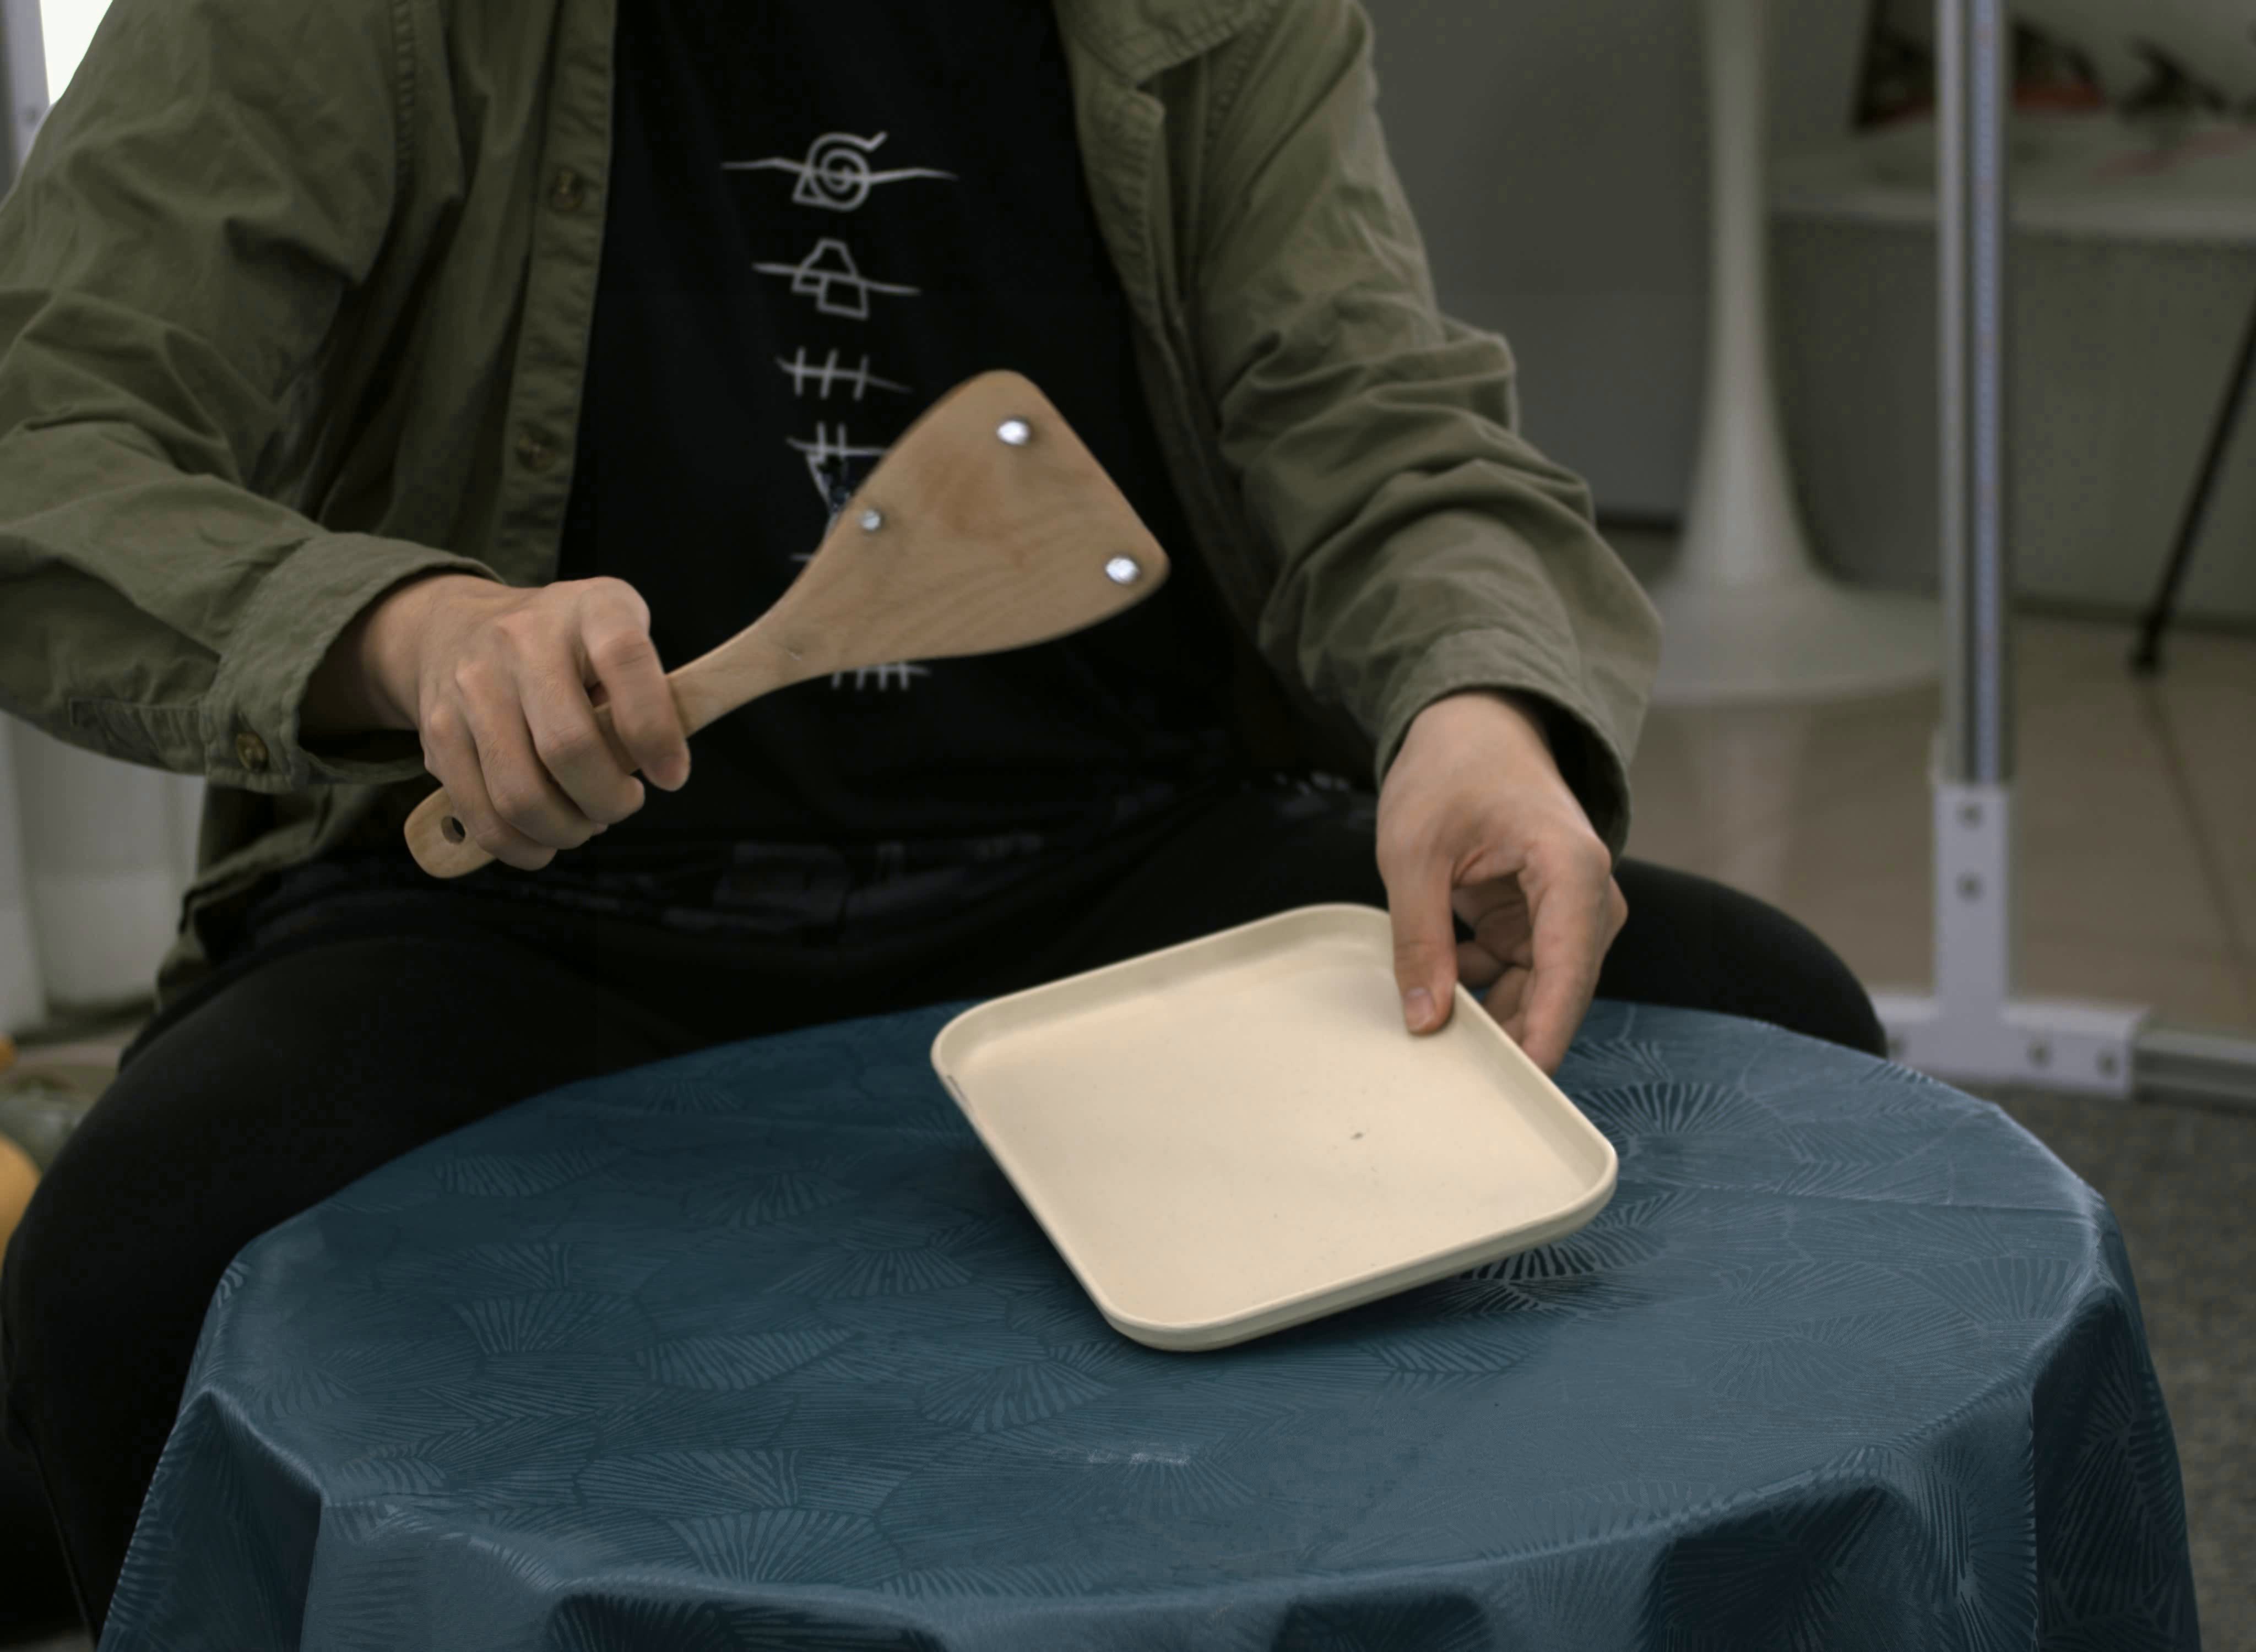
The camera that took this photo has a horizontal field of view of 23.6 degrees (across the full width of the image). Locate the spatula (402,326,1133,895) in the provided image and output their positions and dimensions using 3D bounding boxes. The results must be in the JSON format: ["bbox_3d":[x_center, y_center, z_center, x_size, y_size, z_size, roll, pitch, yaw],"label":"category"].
[{"bbox_3d":[-0.122,-0.051,1.632,0.330,0.080,0.016,-31,2,39],"label":"spatula"}]

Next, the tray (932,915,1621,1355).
[{"bbox_3d":[0.044,0.096,1.716,0.168,0.017,0.242,-16,25,-13],"label":"tray"}]
